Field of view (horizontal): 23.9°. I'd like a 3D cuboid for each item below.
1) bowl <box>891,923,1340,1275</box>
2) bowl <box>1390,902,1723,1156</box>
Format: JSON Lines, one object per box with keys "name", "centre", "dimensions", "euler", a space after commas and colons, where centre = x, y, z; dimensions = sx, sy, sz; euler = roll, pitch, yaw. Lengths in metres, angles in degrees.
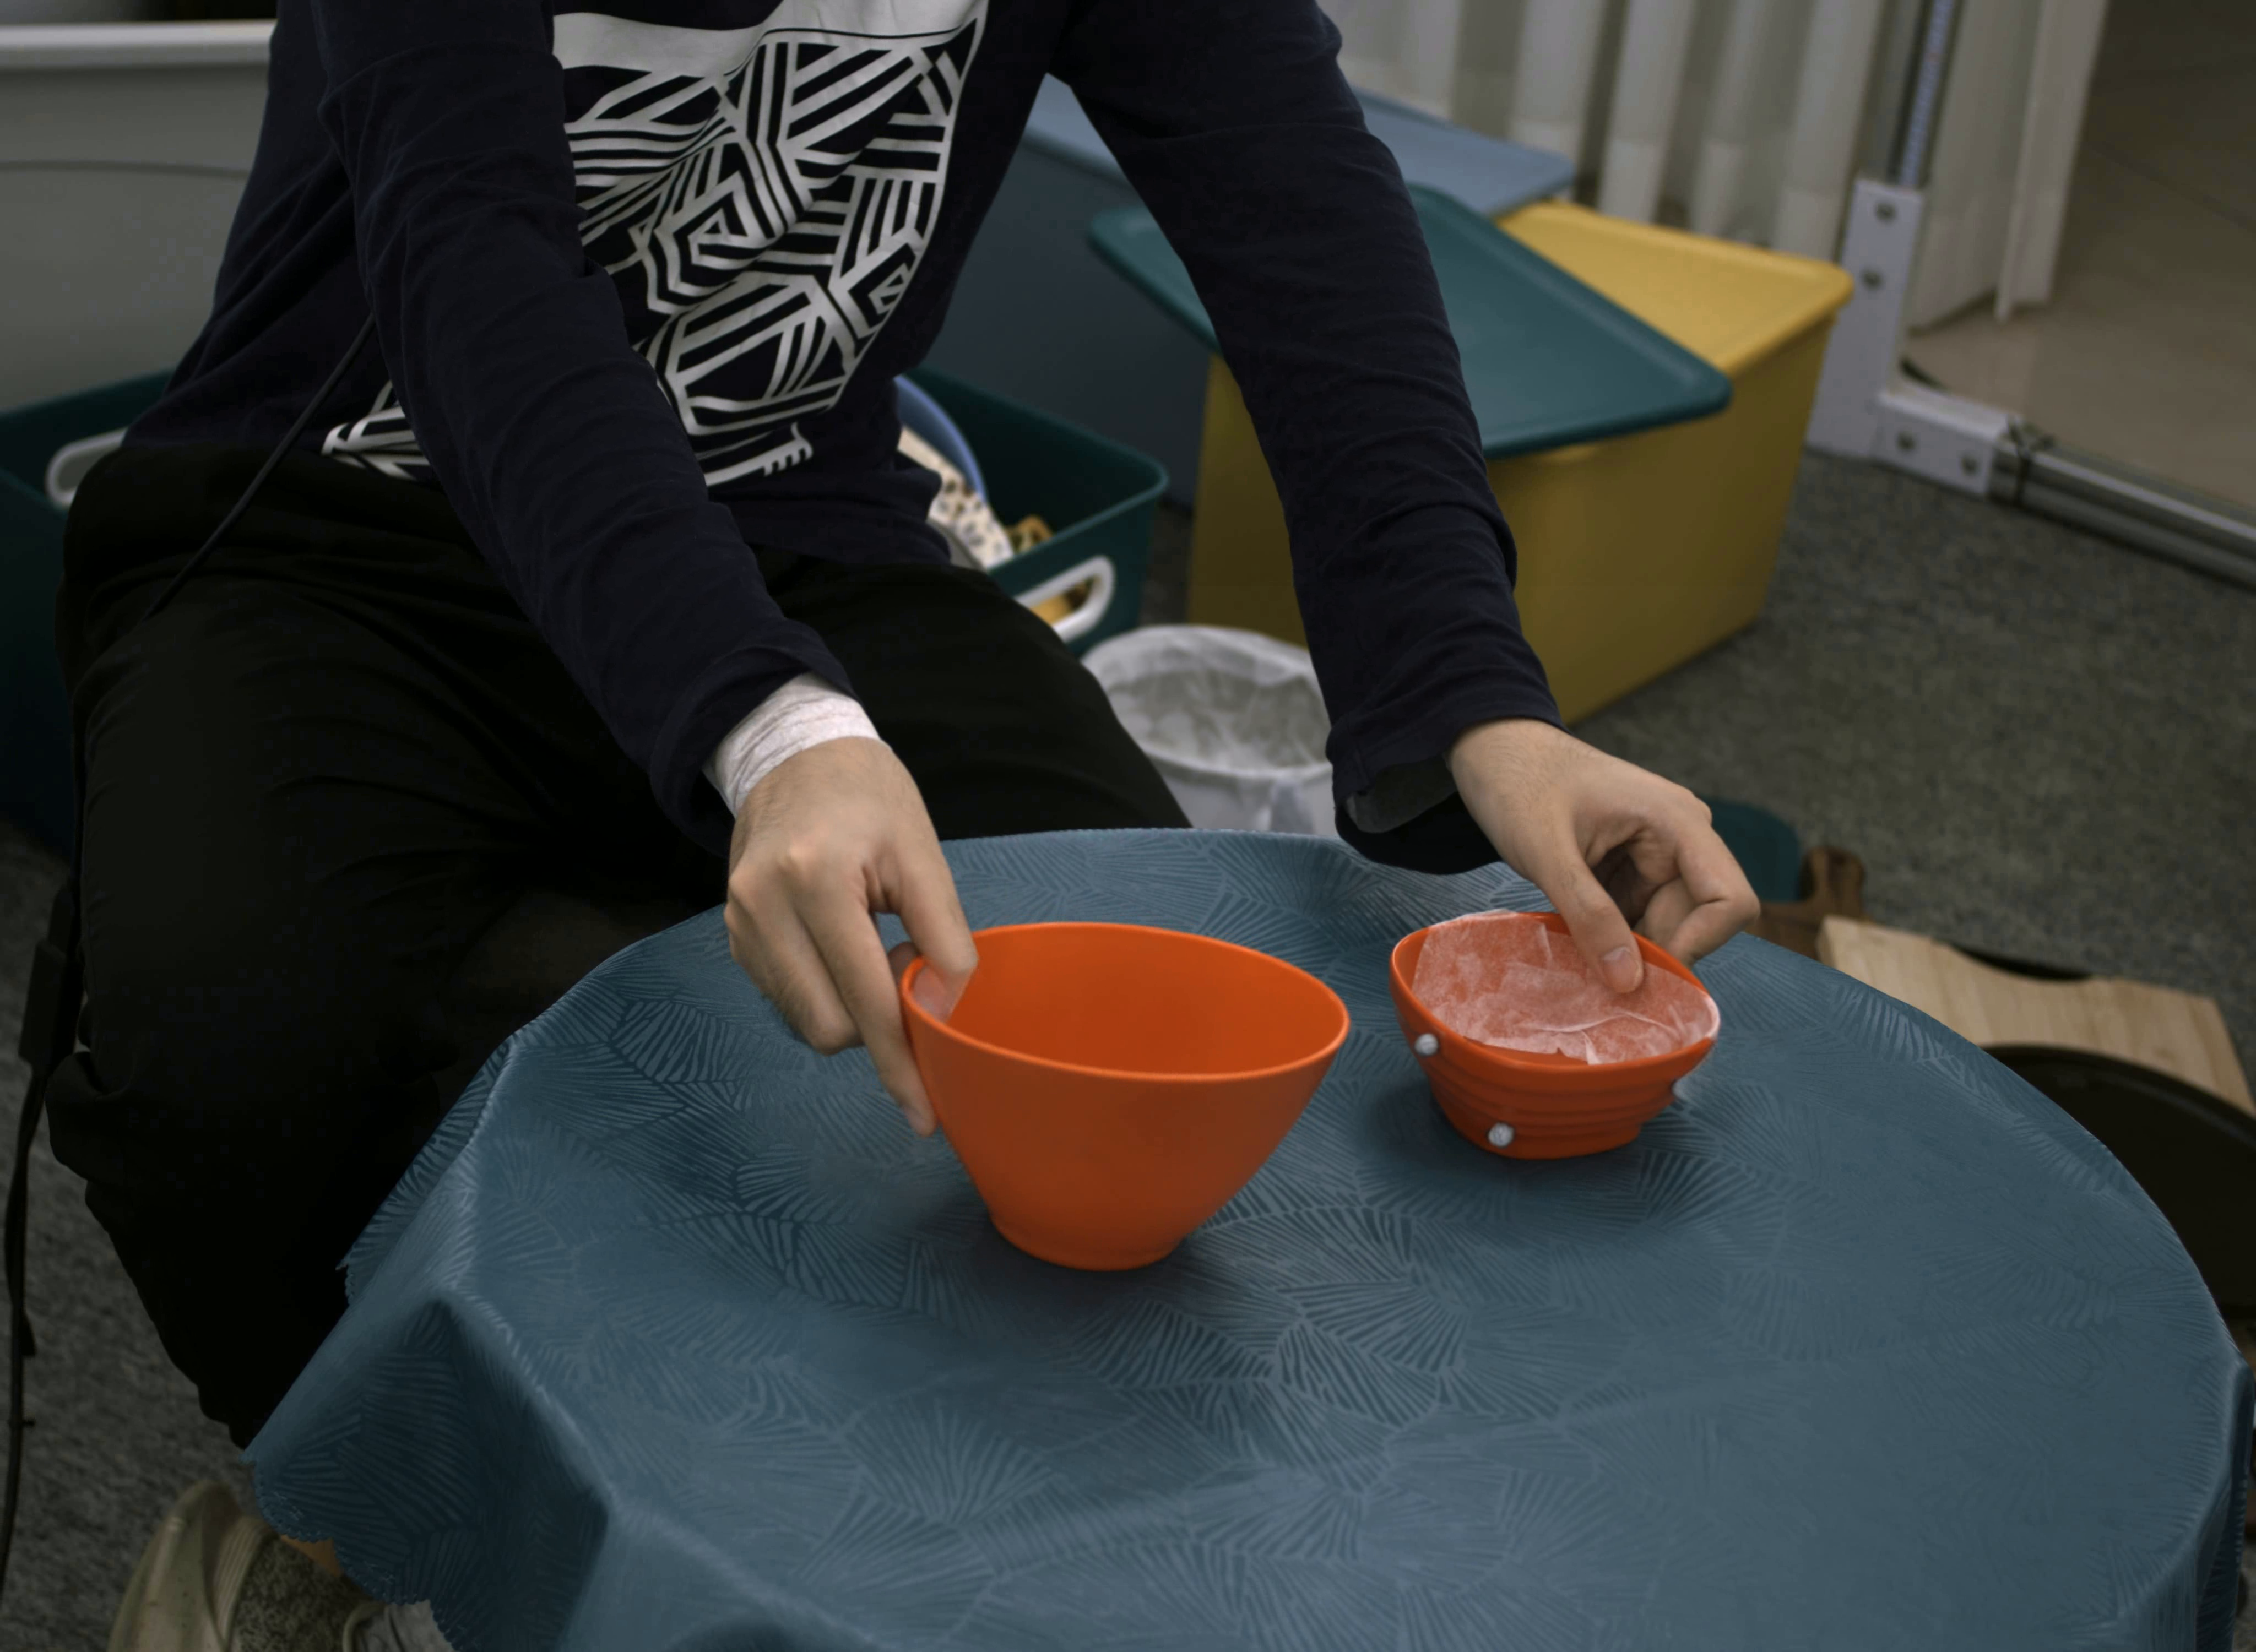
{"name": "bowl", "centre": [-0.008, 0.093, 1.753], "dimensions": [0.147, 0.104, 0.149], "euler": [5, 27, -3]}
{"name": "bowl", "centre": [0.147, 0.076, 1.873], "dimensions": [0.118, 0.051, 0.119], "euler": [5, 29, -3]}
